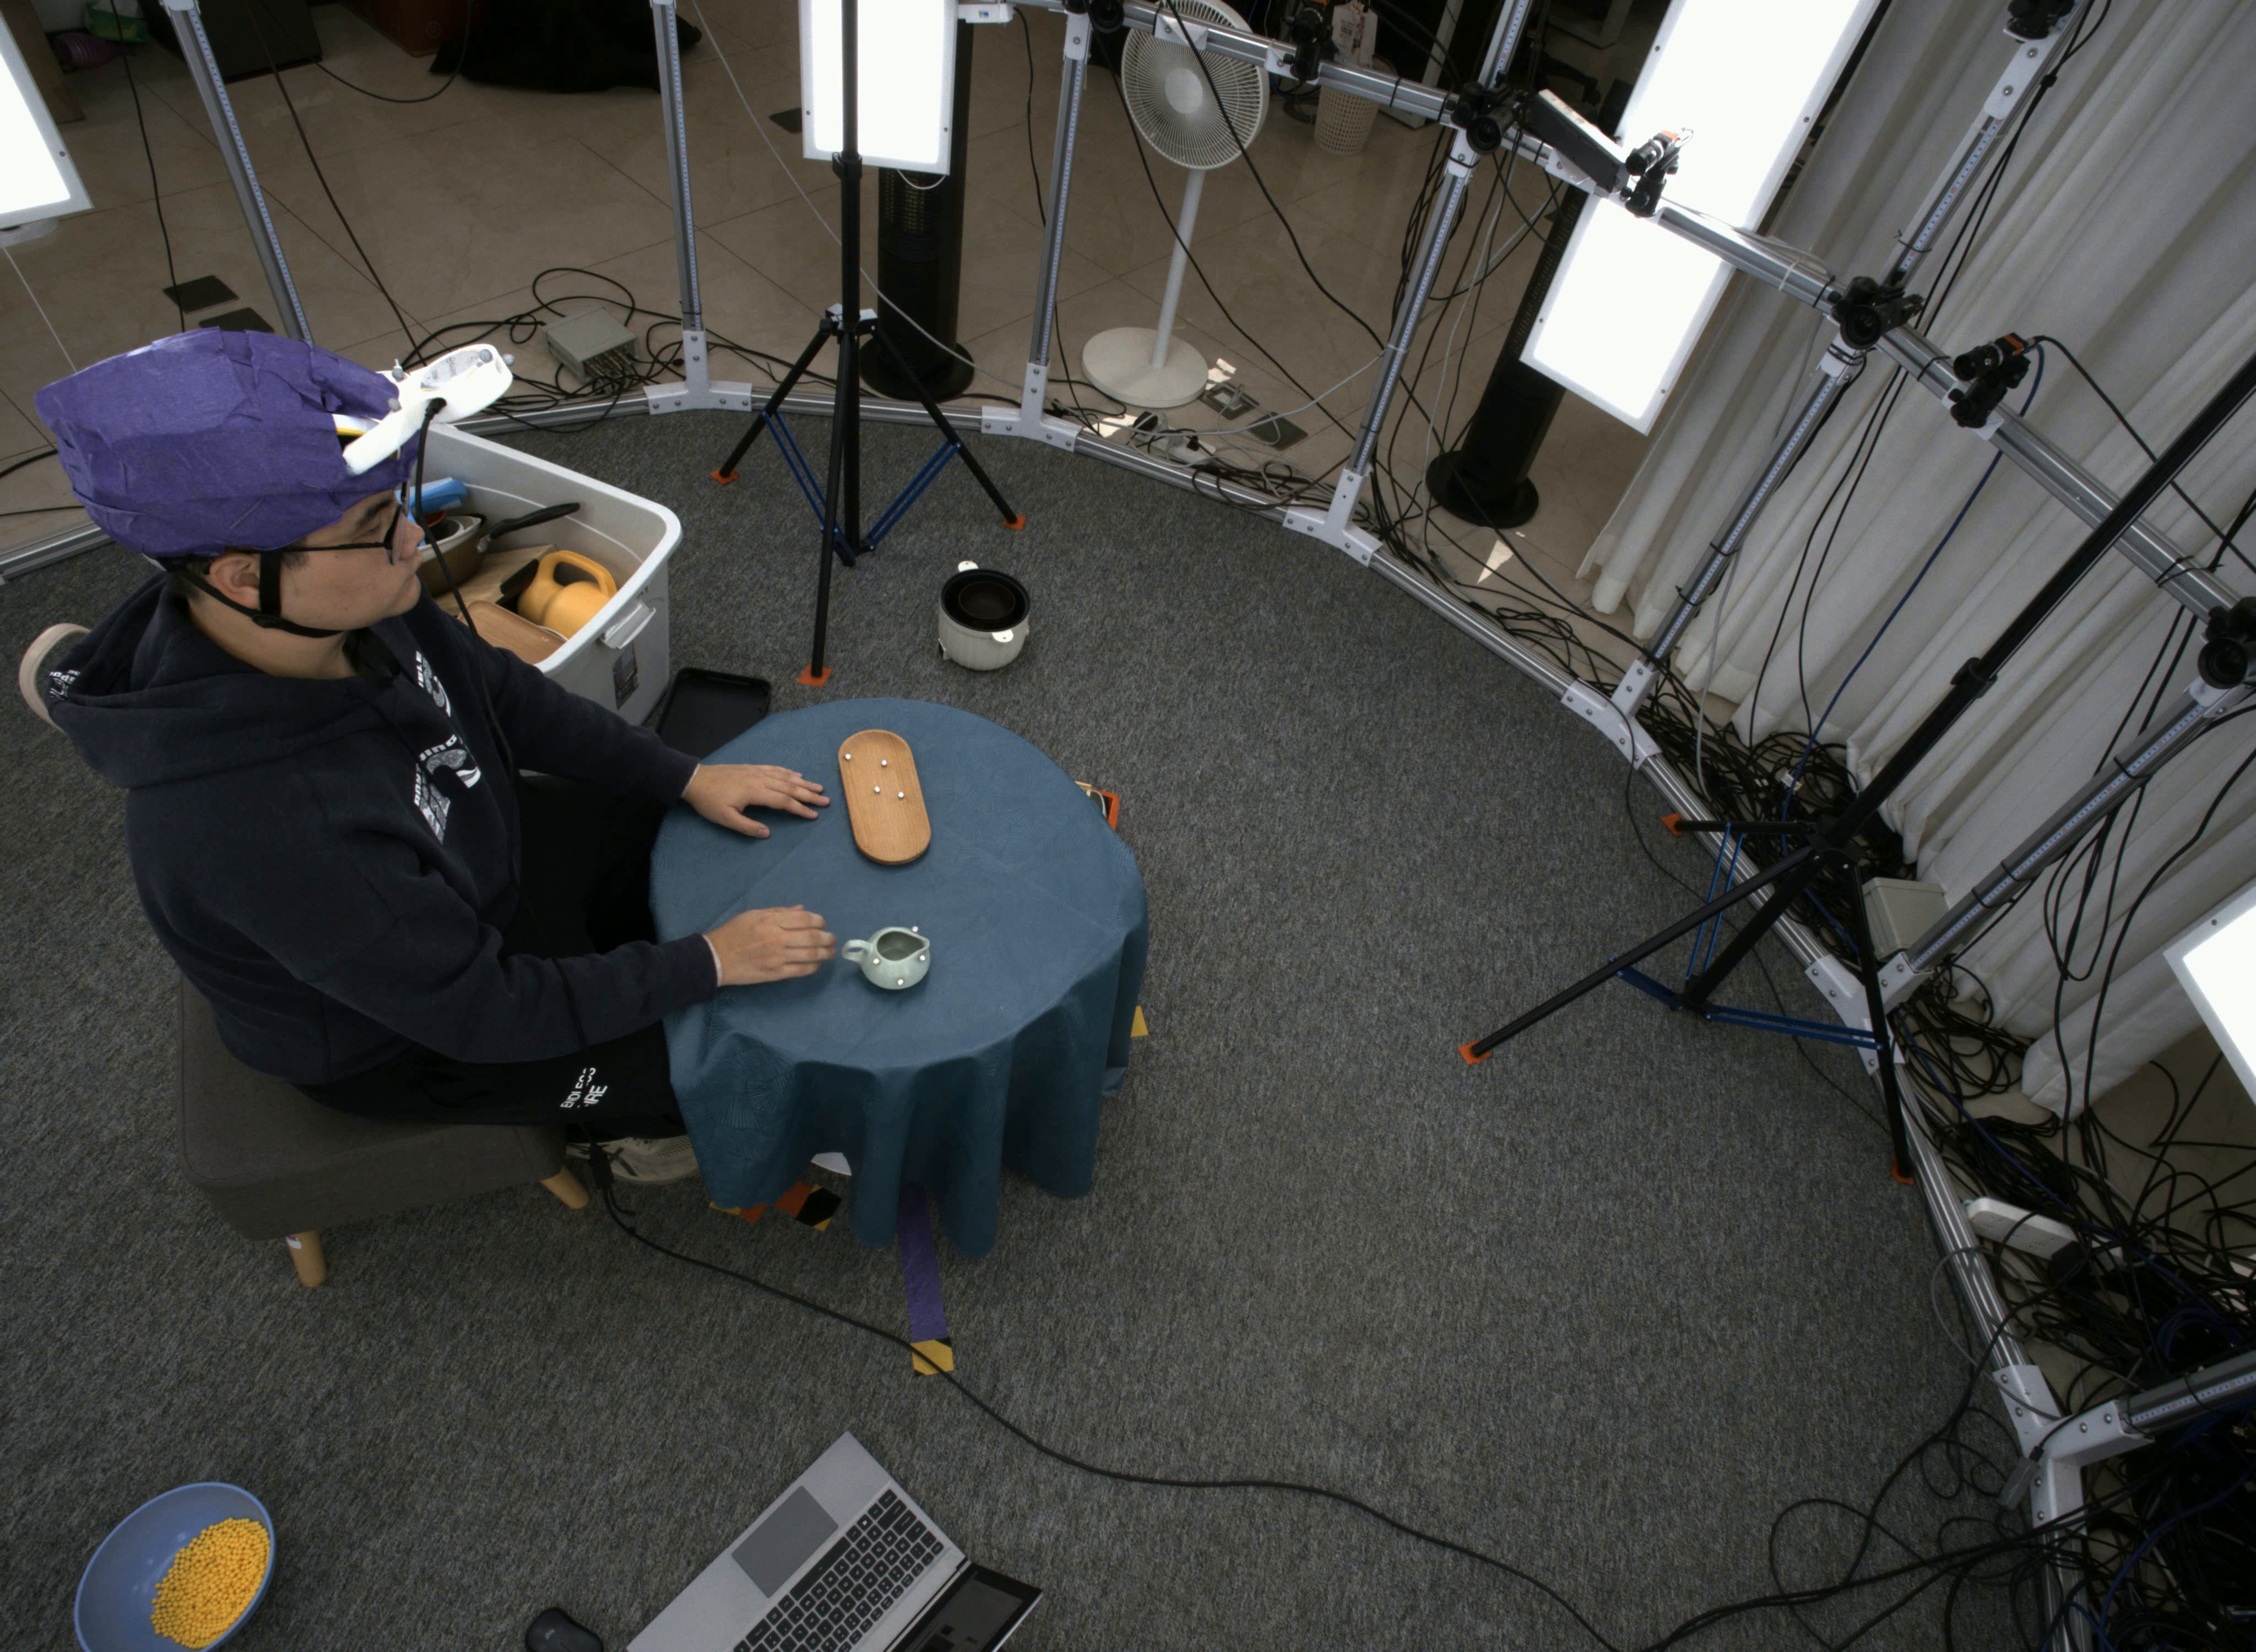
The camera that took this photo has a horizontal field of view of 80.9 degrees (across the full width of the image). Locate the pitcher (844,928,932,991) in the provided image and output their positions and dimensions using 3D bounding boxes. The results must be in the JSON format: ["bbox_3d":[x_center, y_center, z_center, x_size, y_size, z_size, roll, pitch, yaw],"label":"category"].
[{"bbox_3d":[-0.295,0.159,1.598,0.108,0.062,0.084,-3,53,-12],"label":"pitcher"}]

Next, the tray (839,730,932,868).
[{"bbox_3d":[-0.331,-0.039,1.763,0.102,0.021,0.226,-9,59,-18],"label":"tray"}]
